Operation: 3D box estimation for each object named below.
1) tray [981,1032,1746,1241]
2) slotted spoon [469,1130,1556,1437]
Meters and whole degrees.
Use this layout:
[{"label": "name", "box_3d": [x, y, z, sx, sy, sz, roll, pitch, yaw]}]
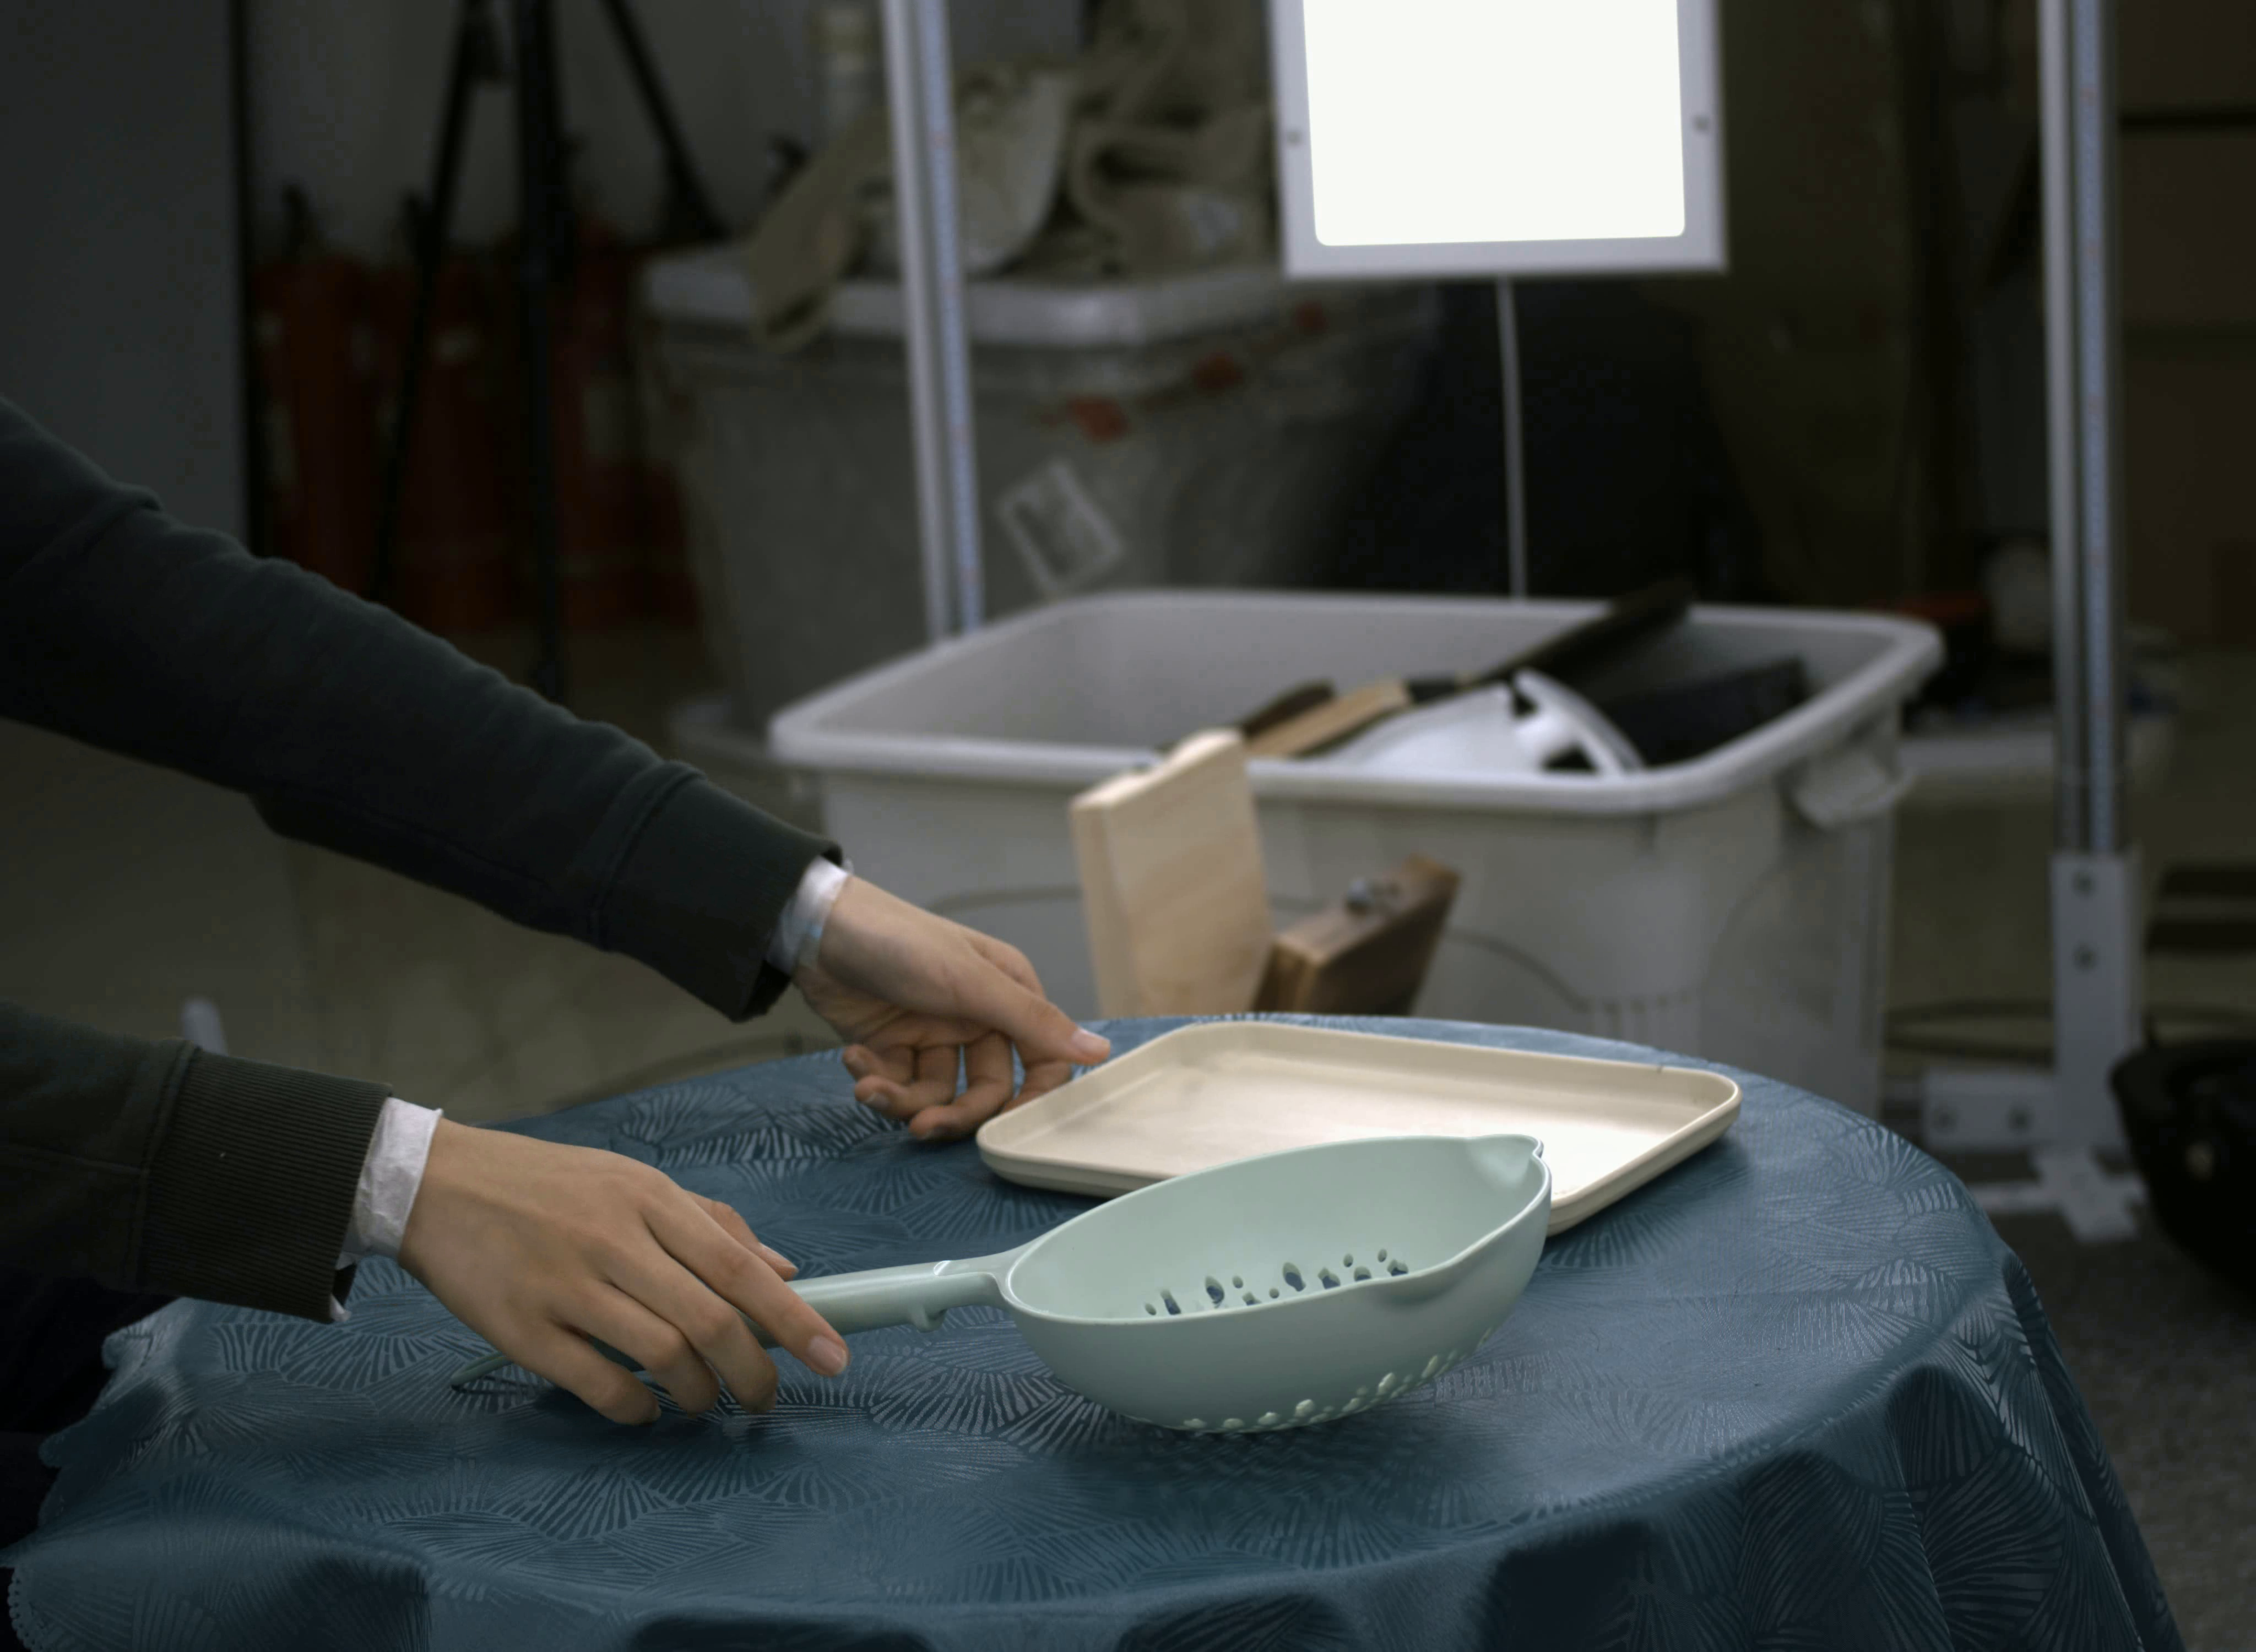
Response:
[{"label": "tray", "box_3d": [0.082, 0.108, 1.912, 0.244, 0.017, 0.167, 4, 16, 35]}, {"label": "slotted spoon", "box_3d": [-0.043, 0.146, 1.699, 0.363, 0.075, 0.166, -1, 14, 19]}]
